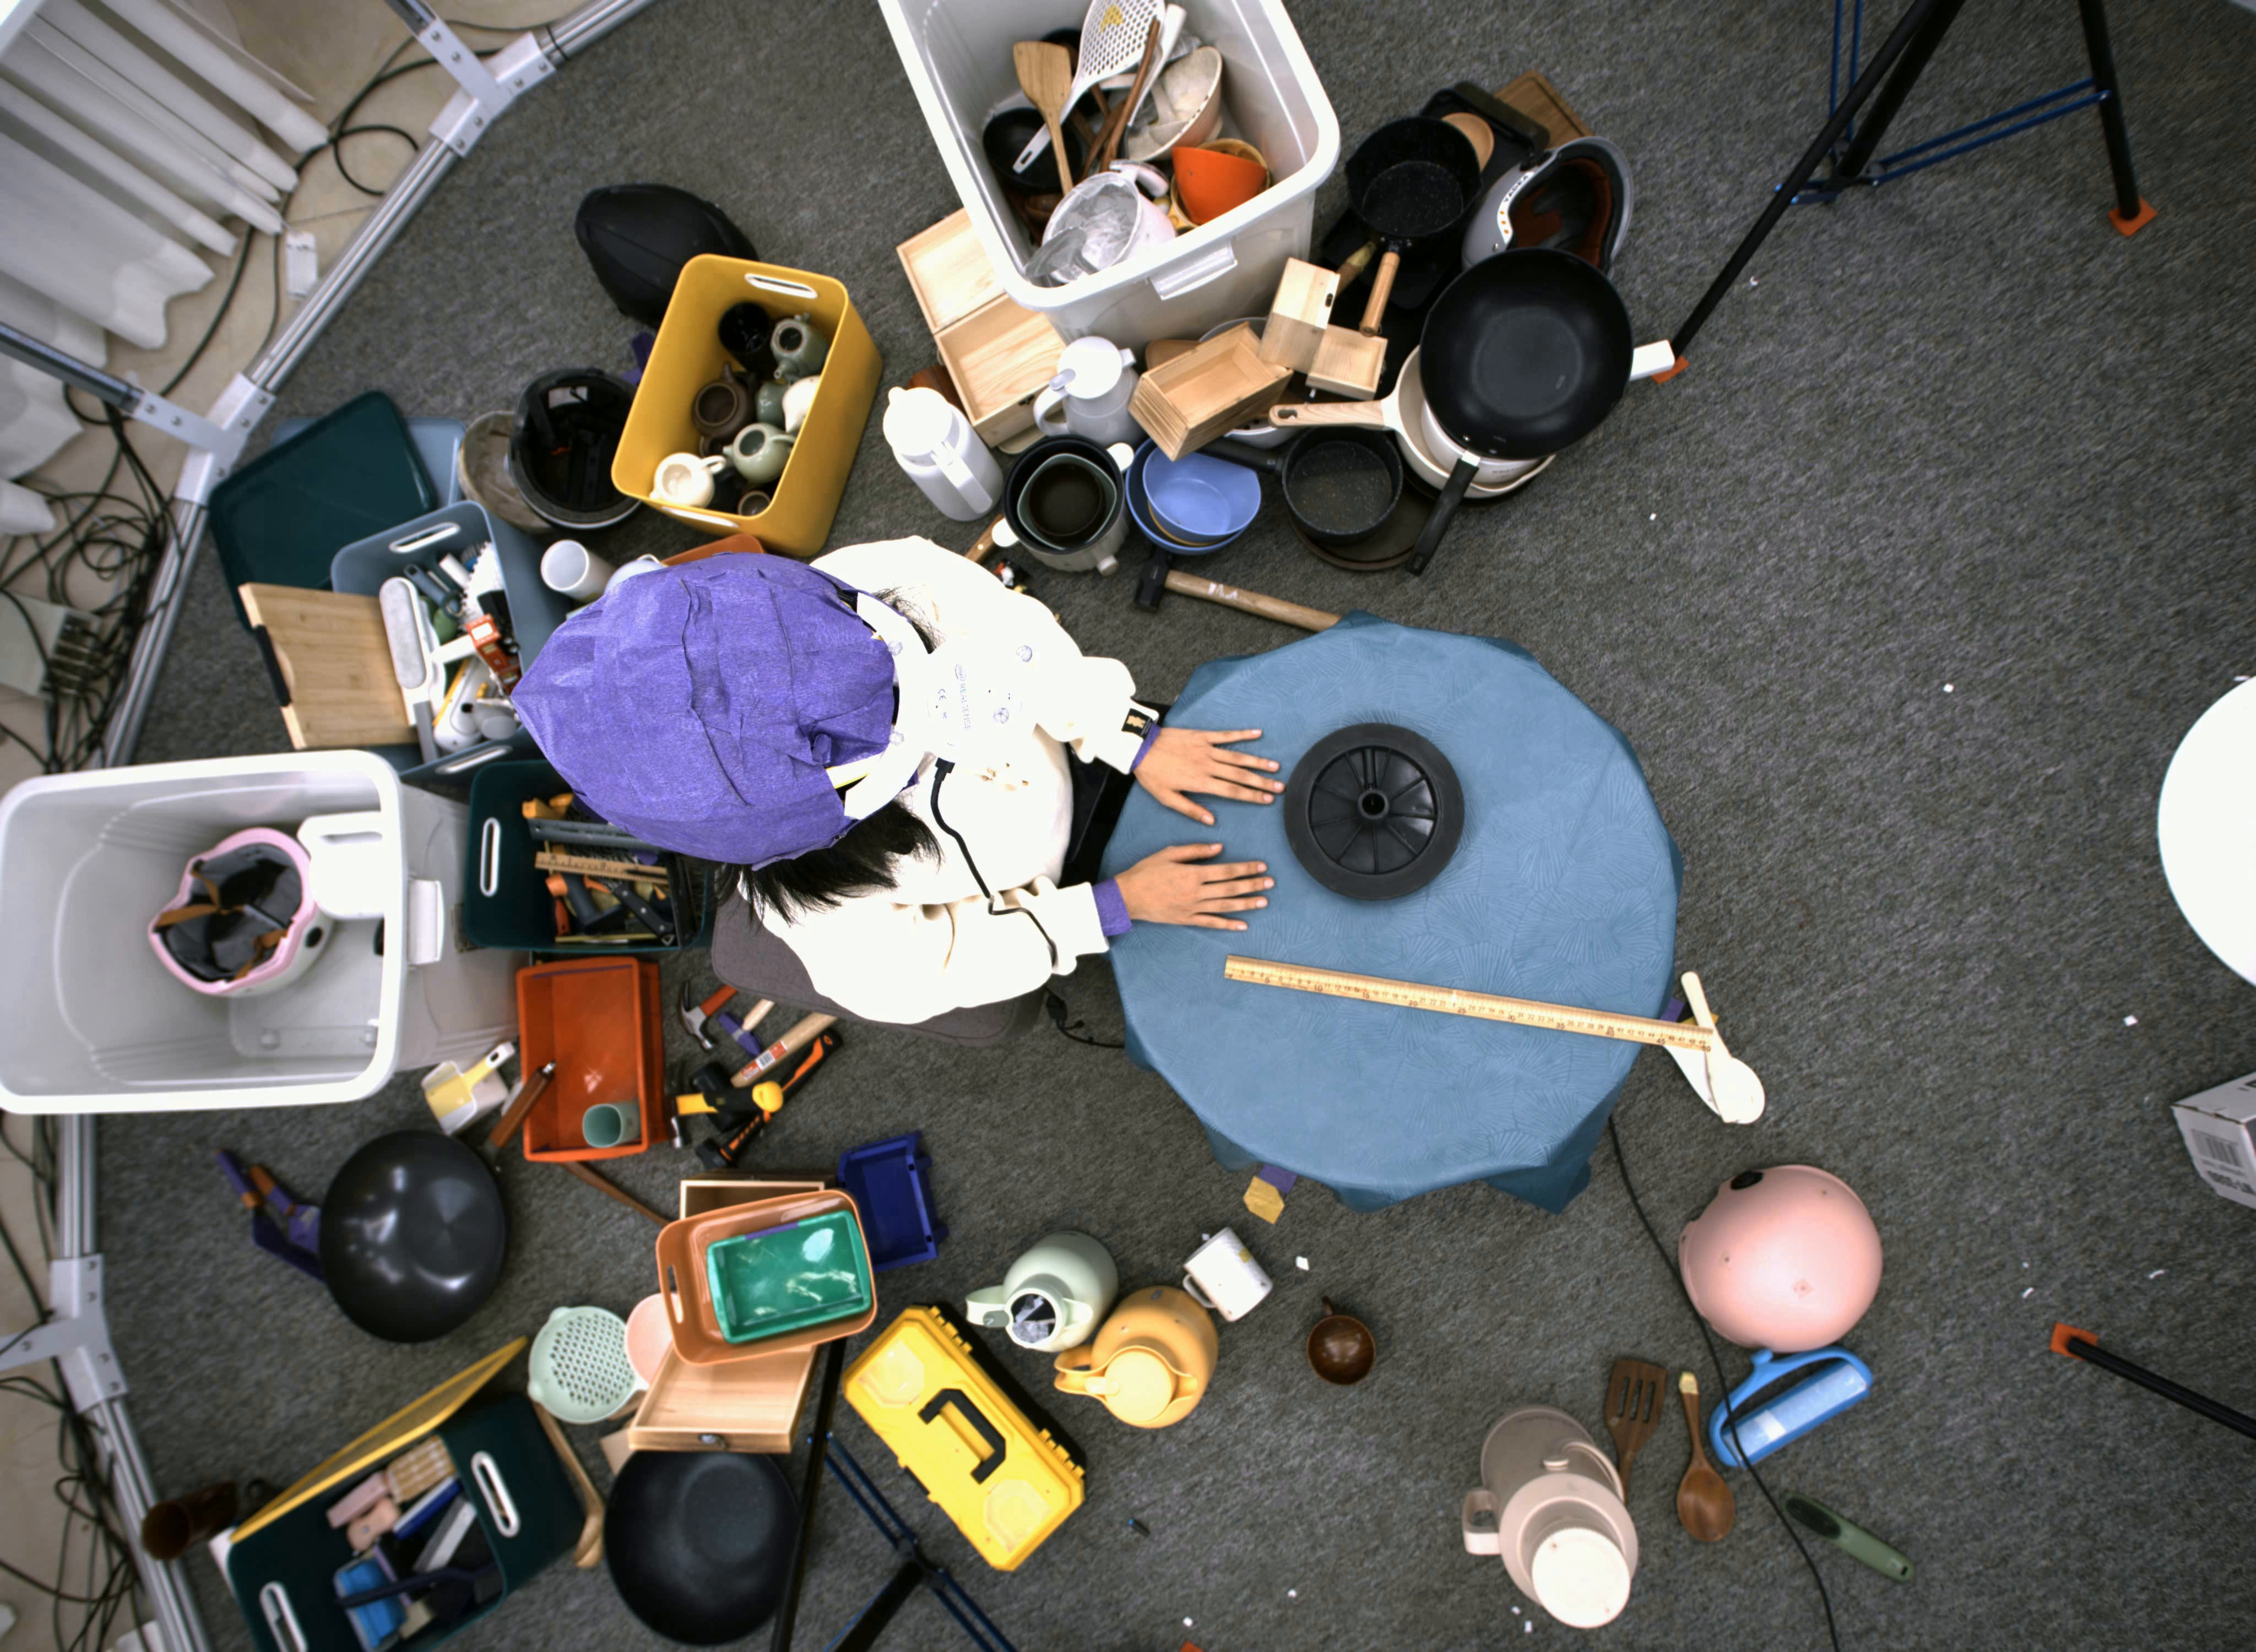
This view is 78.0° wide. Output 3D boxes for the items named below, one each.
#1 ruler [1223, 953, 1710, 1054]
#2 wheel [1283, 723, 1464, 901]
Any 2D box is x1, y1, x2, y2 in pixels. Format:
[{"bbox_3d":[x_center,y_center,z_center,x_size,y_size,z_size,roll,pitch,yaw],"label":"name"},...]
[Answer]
[{"bbox_3d":[0.347,0.182,1.437,0.502,0.006,0.027,8,90,11],"label":"ruler"},{"bbox_3d":[0.254,-0.019,1.430,0.188,0.079,0.188,-27,81,8],"label":"wheel"}]
